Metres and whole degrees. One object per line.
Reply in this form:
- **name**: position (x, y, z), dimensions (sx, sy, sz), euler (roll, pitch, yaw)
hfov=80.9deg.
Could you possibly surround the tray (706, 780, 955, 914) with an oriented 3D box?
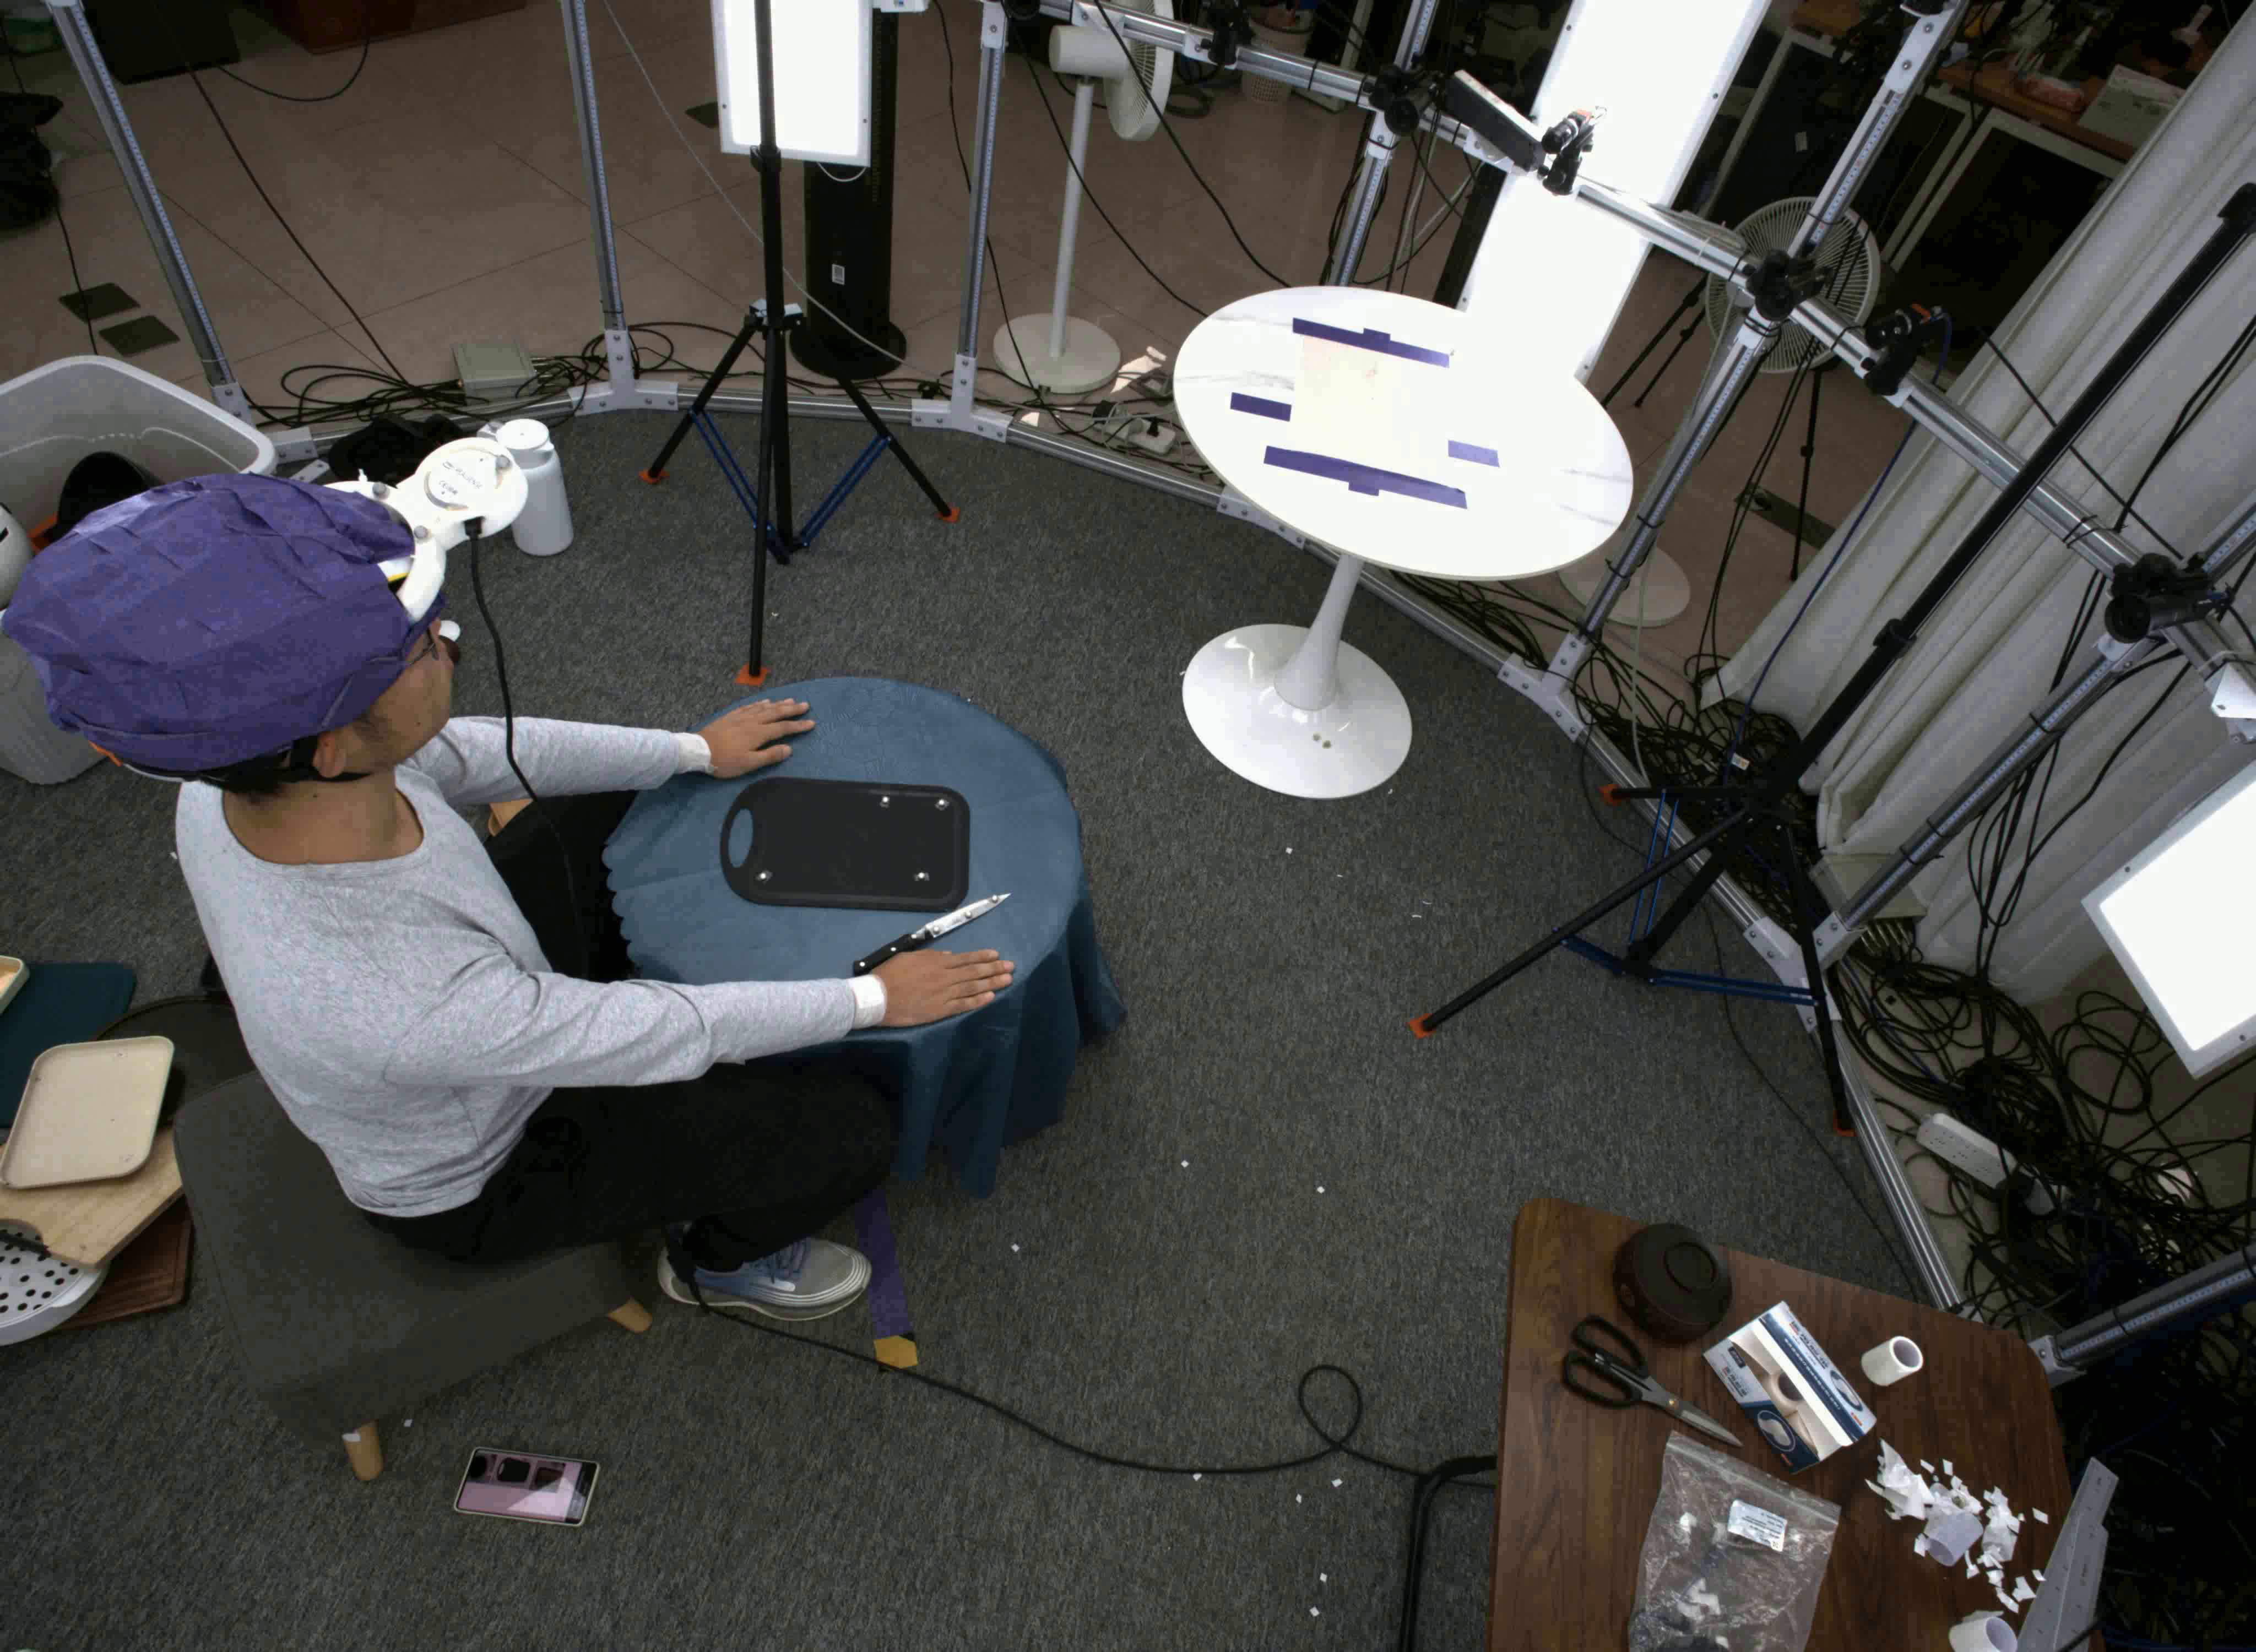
- **tray**: position (-0.392, 0.023, 1.722), dimensions (0.325, 0.010, 0.207), euler (3, 53, -12)

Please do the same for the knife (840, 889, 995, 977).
- **knife**: position (-0.264, 0.133, 1.671), dimensions (0.239, 0.016, 0.024), euler (-28, 66, -33)
